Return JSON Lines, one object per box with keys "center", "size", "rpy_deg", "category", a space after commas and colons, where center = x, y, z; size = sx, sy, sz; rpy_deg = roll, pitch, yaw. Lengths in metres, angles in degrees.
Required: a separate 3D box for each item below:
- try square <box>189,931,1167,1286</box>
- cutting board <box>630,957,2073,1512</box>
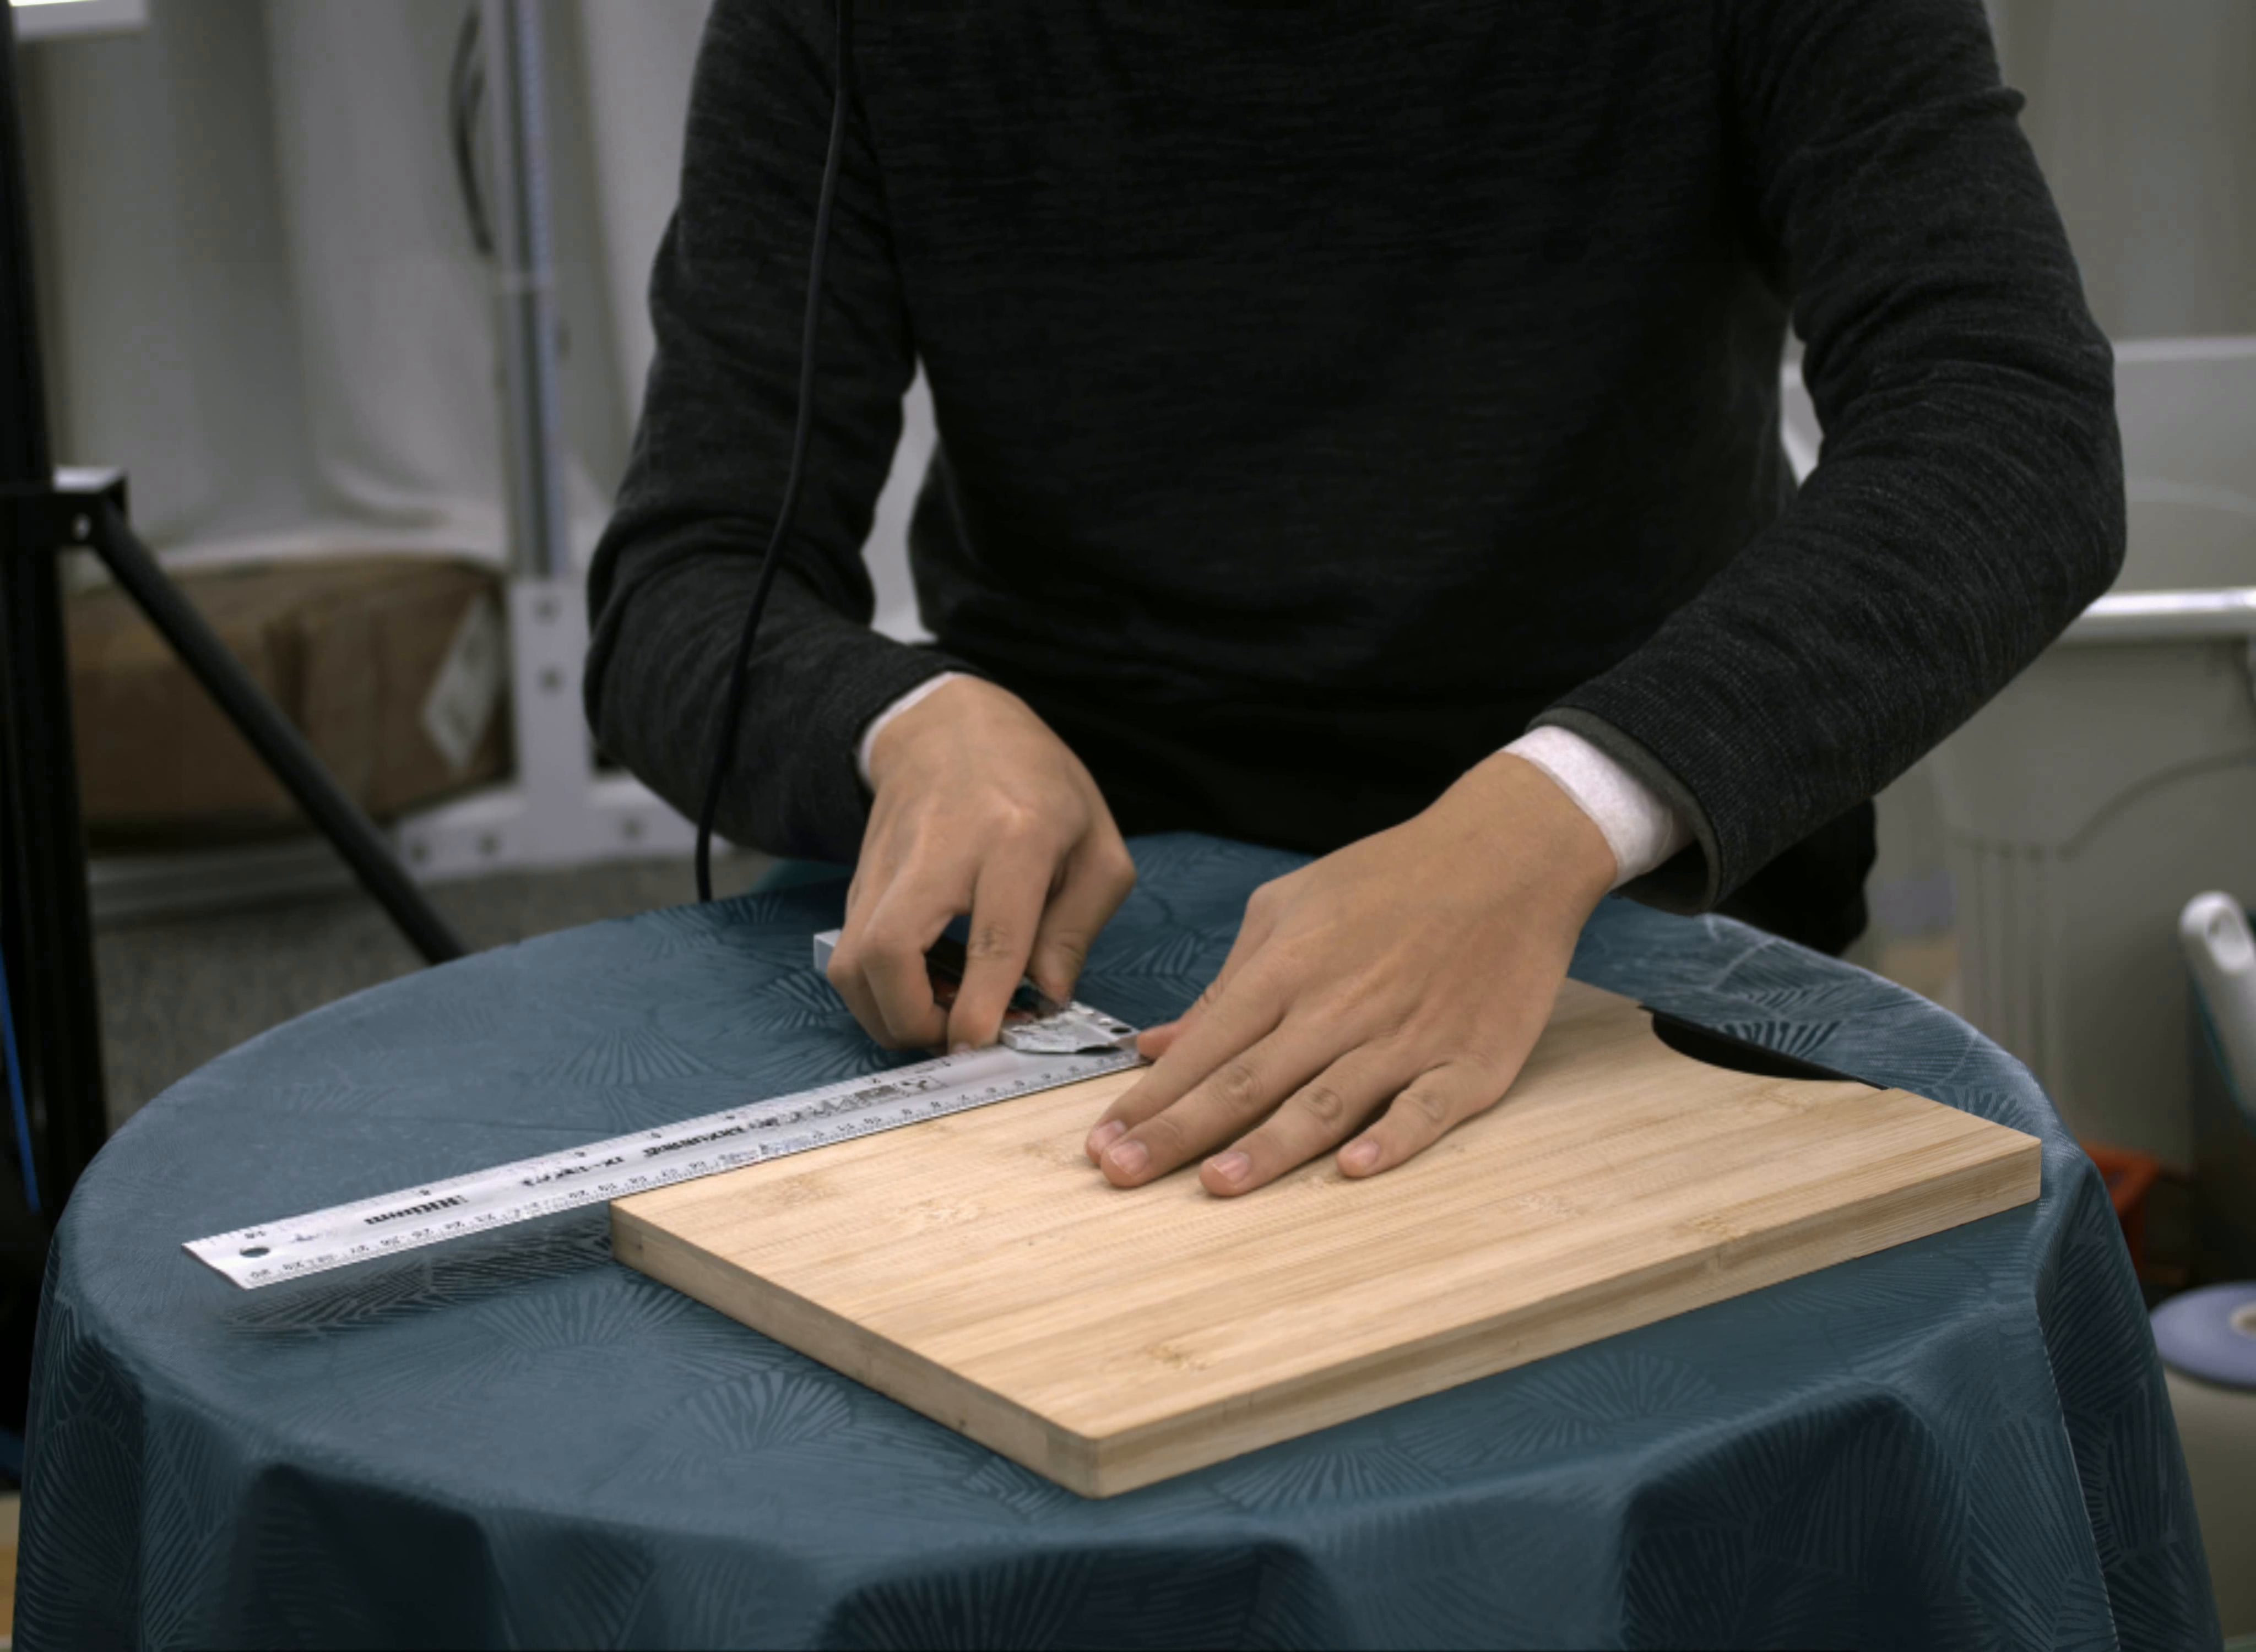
{"center": [-0.155, 0.082, 1.603], "size": [0.306, 0.016, 0.156], "rpy_deg": [-12, 19, -31], "category": "try square"}
{"center": [0.062, 0.107, 1.520], "size": [0.341, 0.023, 0.256], "rpy_deg": [-14, 20, -34], "category": "cutting board"}
